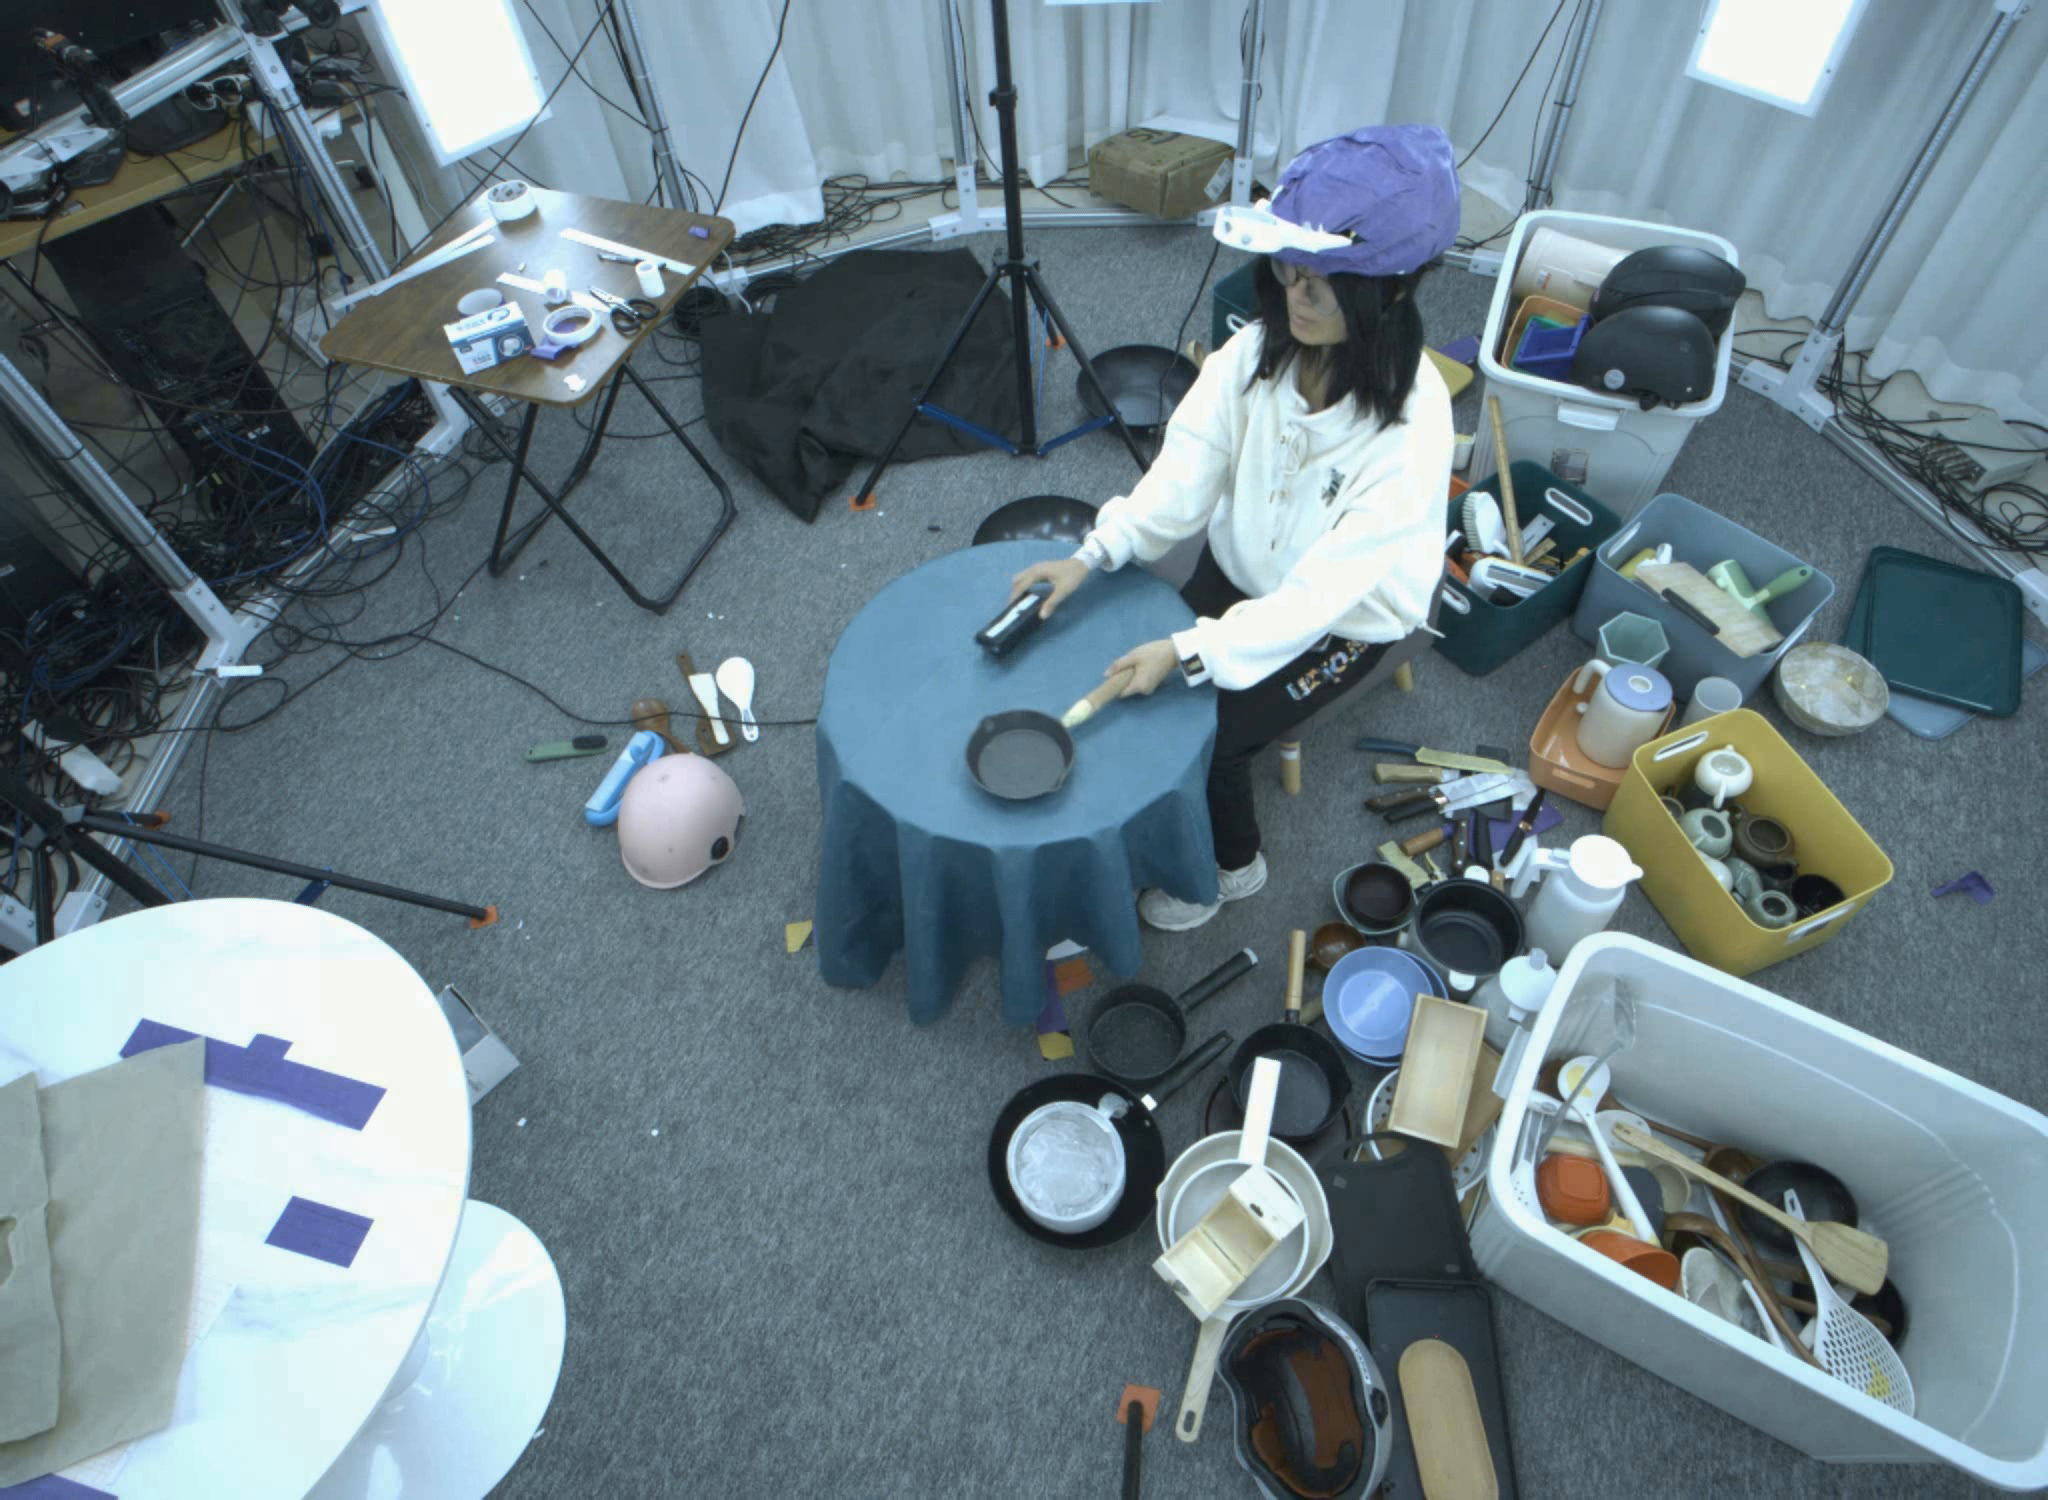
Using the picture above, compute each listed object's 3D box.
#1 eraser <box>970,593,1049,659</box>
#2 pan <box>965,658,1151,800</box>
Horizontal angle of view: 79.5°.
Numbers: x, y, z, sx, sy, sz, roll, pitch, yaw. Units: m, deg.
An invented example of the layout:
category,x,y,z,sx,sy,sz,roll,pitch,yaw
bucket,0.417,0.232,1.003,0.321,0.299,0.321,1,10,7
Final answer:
category,x,y,z,sx,sy,sz,roll,pitch,yaw
eraser,-0.022,-0.192,1.890,0.052,0.031,0.126,27,57,35
pan,0.060,-0.038,1.781,0.326,0.050,0.165,-34,59,-19
